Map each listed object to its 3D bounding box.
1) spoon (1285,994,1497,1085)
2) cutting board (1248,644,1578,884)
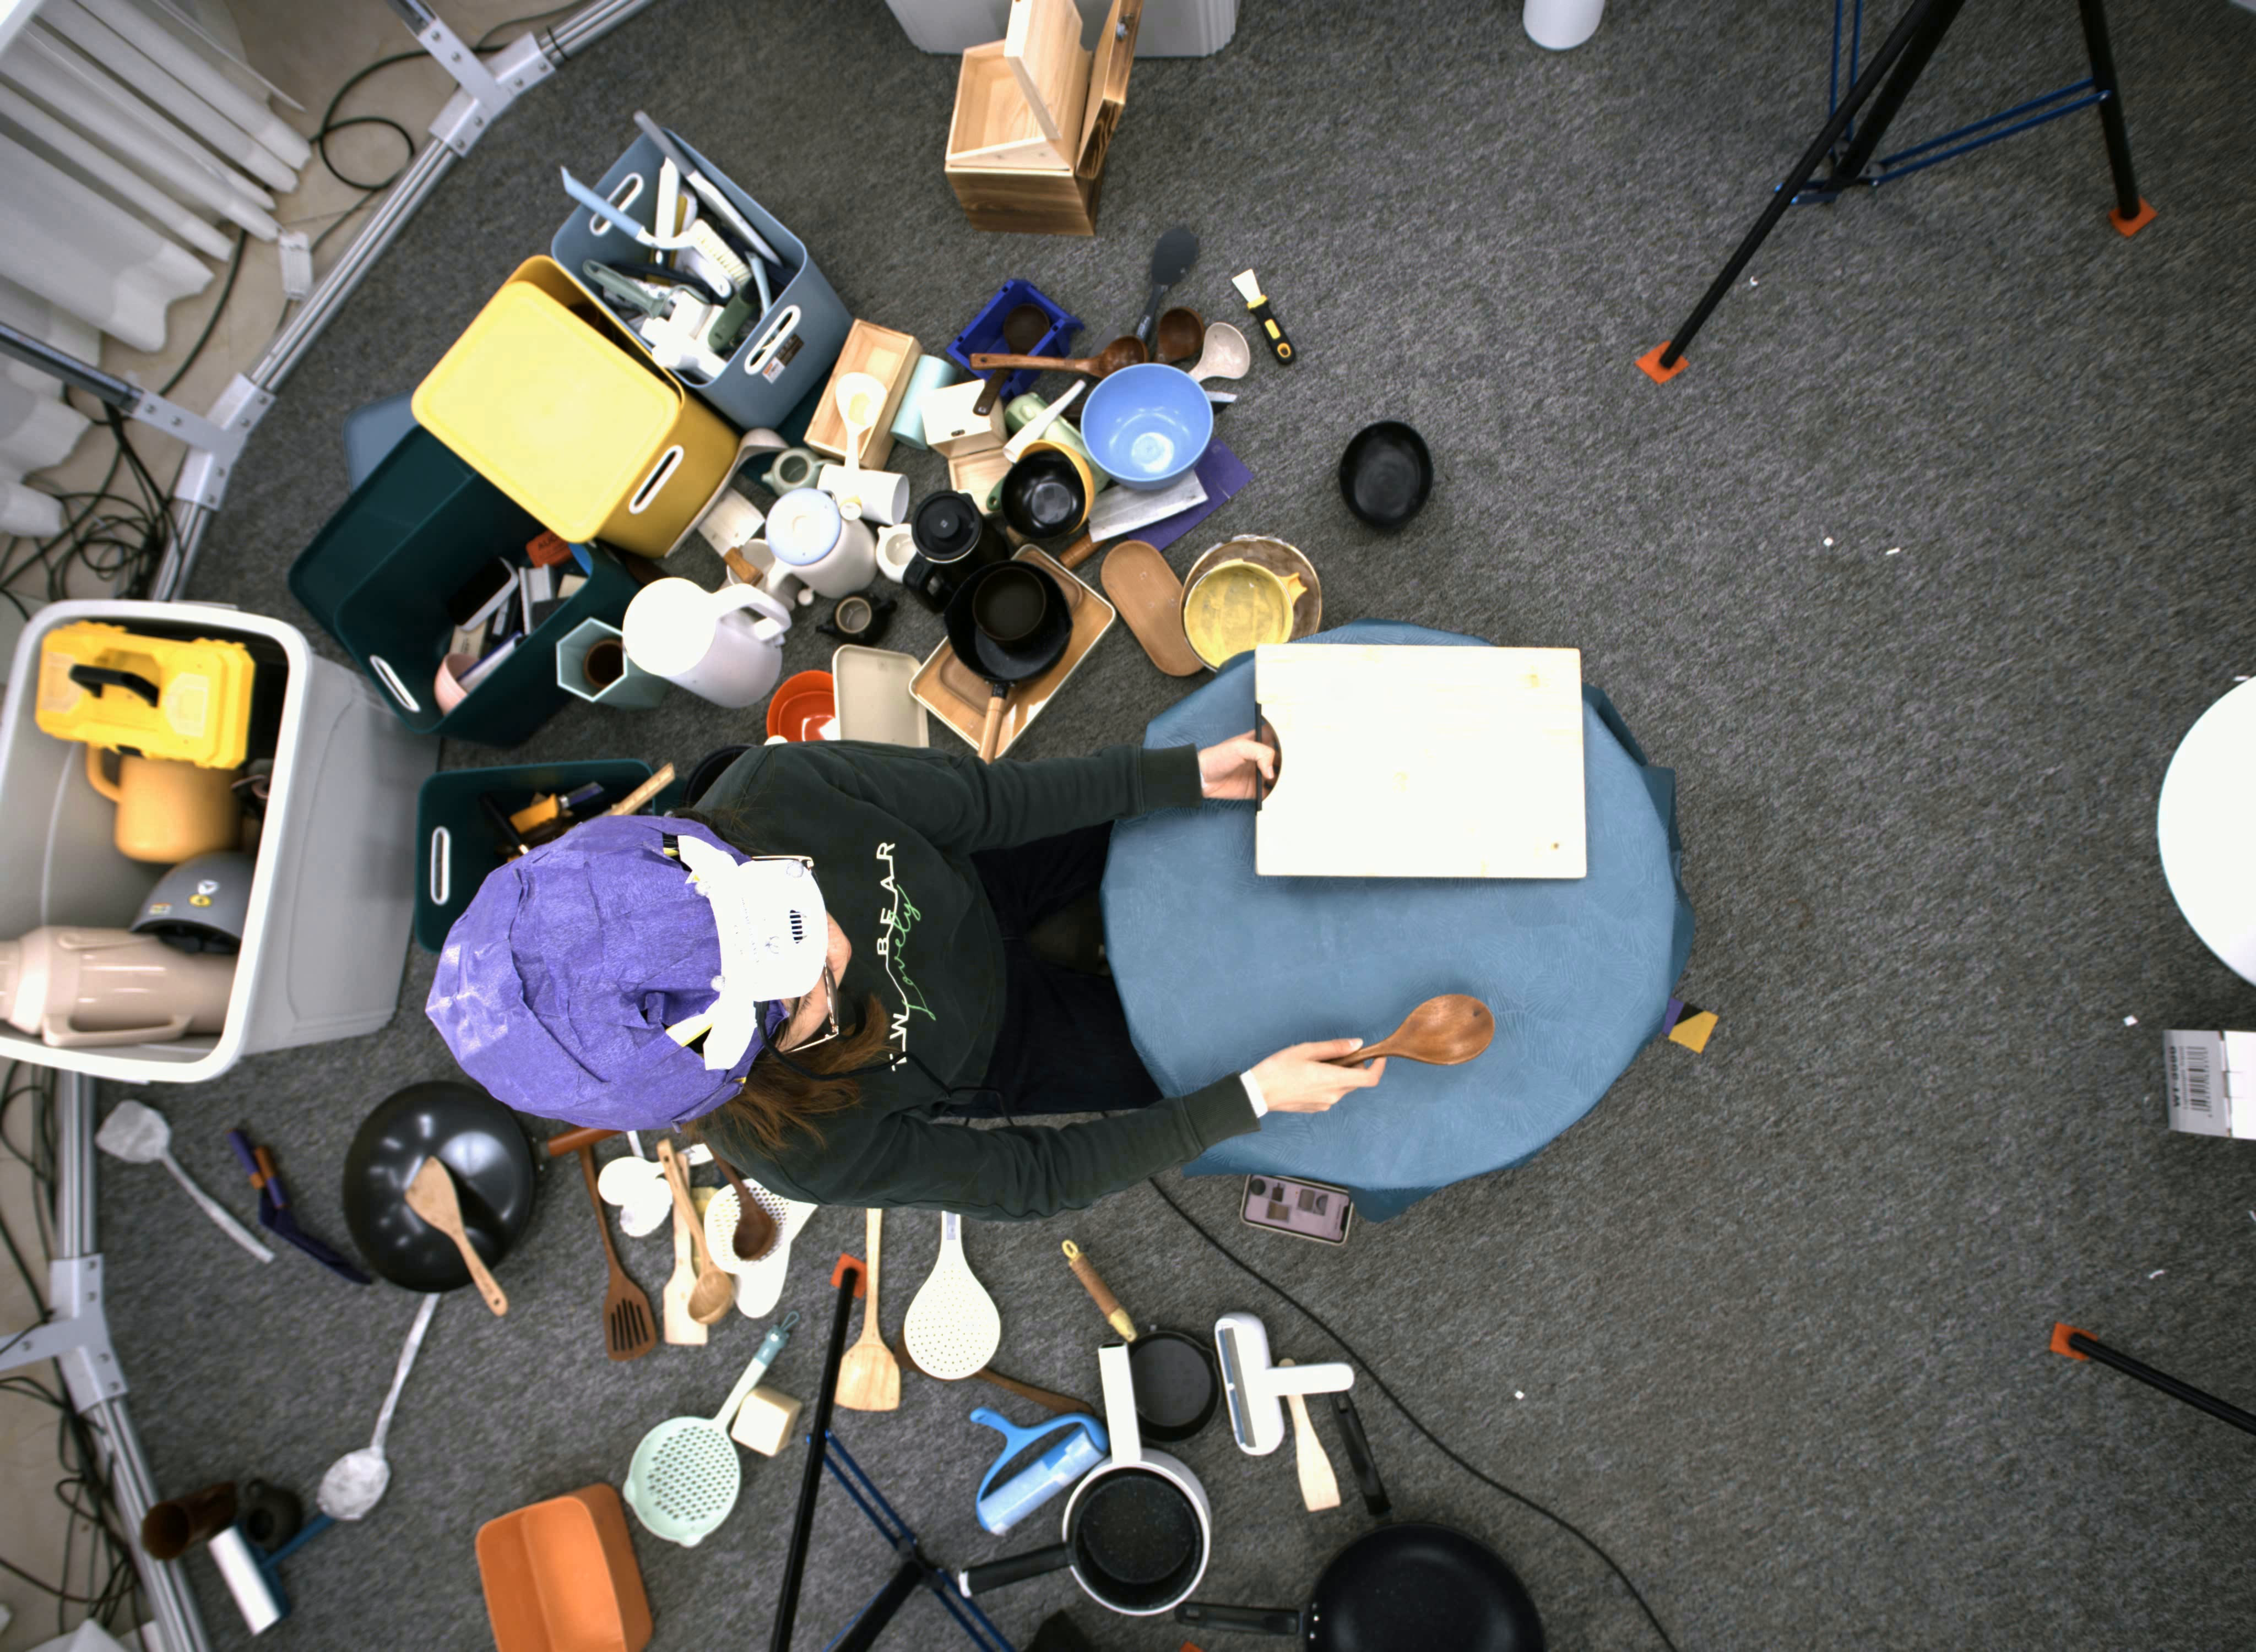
[{"bbox_3d":[0.262,0.221,1.386,0.216,0.017,0.074,-15,62,4],"label":"spoon"},{"bbox_3d":[0.297,-0.066,1.428,0.349,0.024,0.249,0,85,-1],"label":"cutting board"}]
